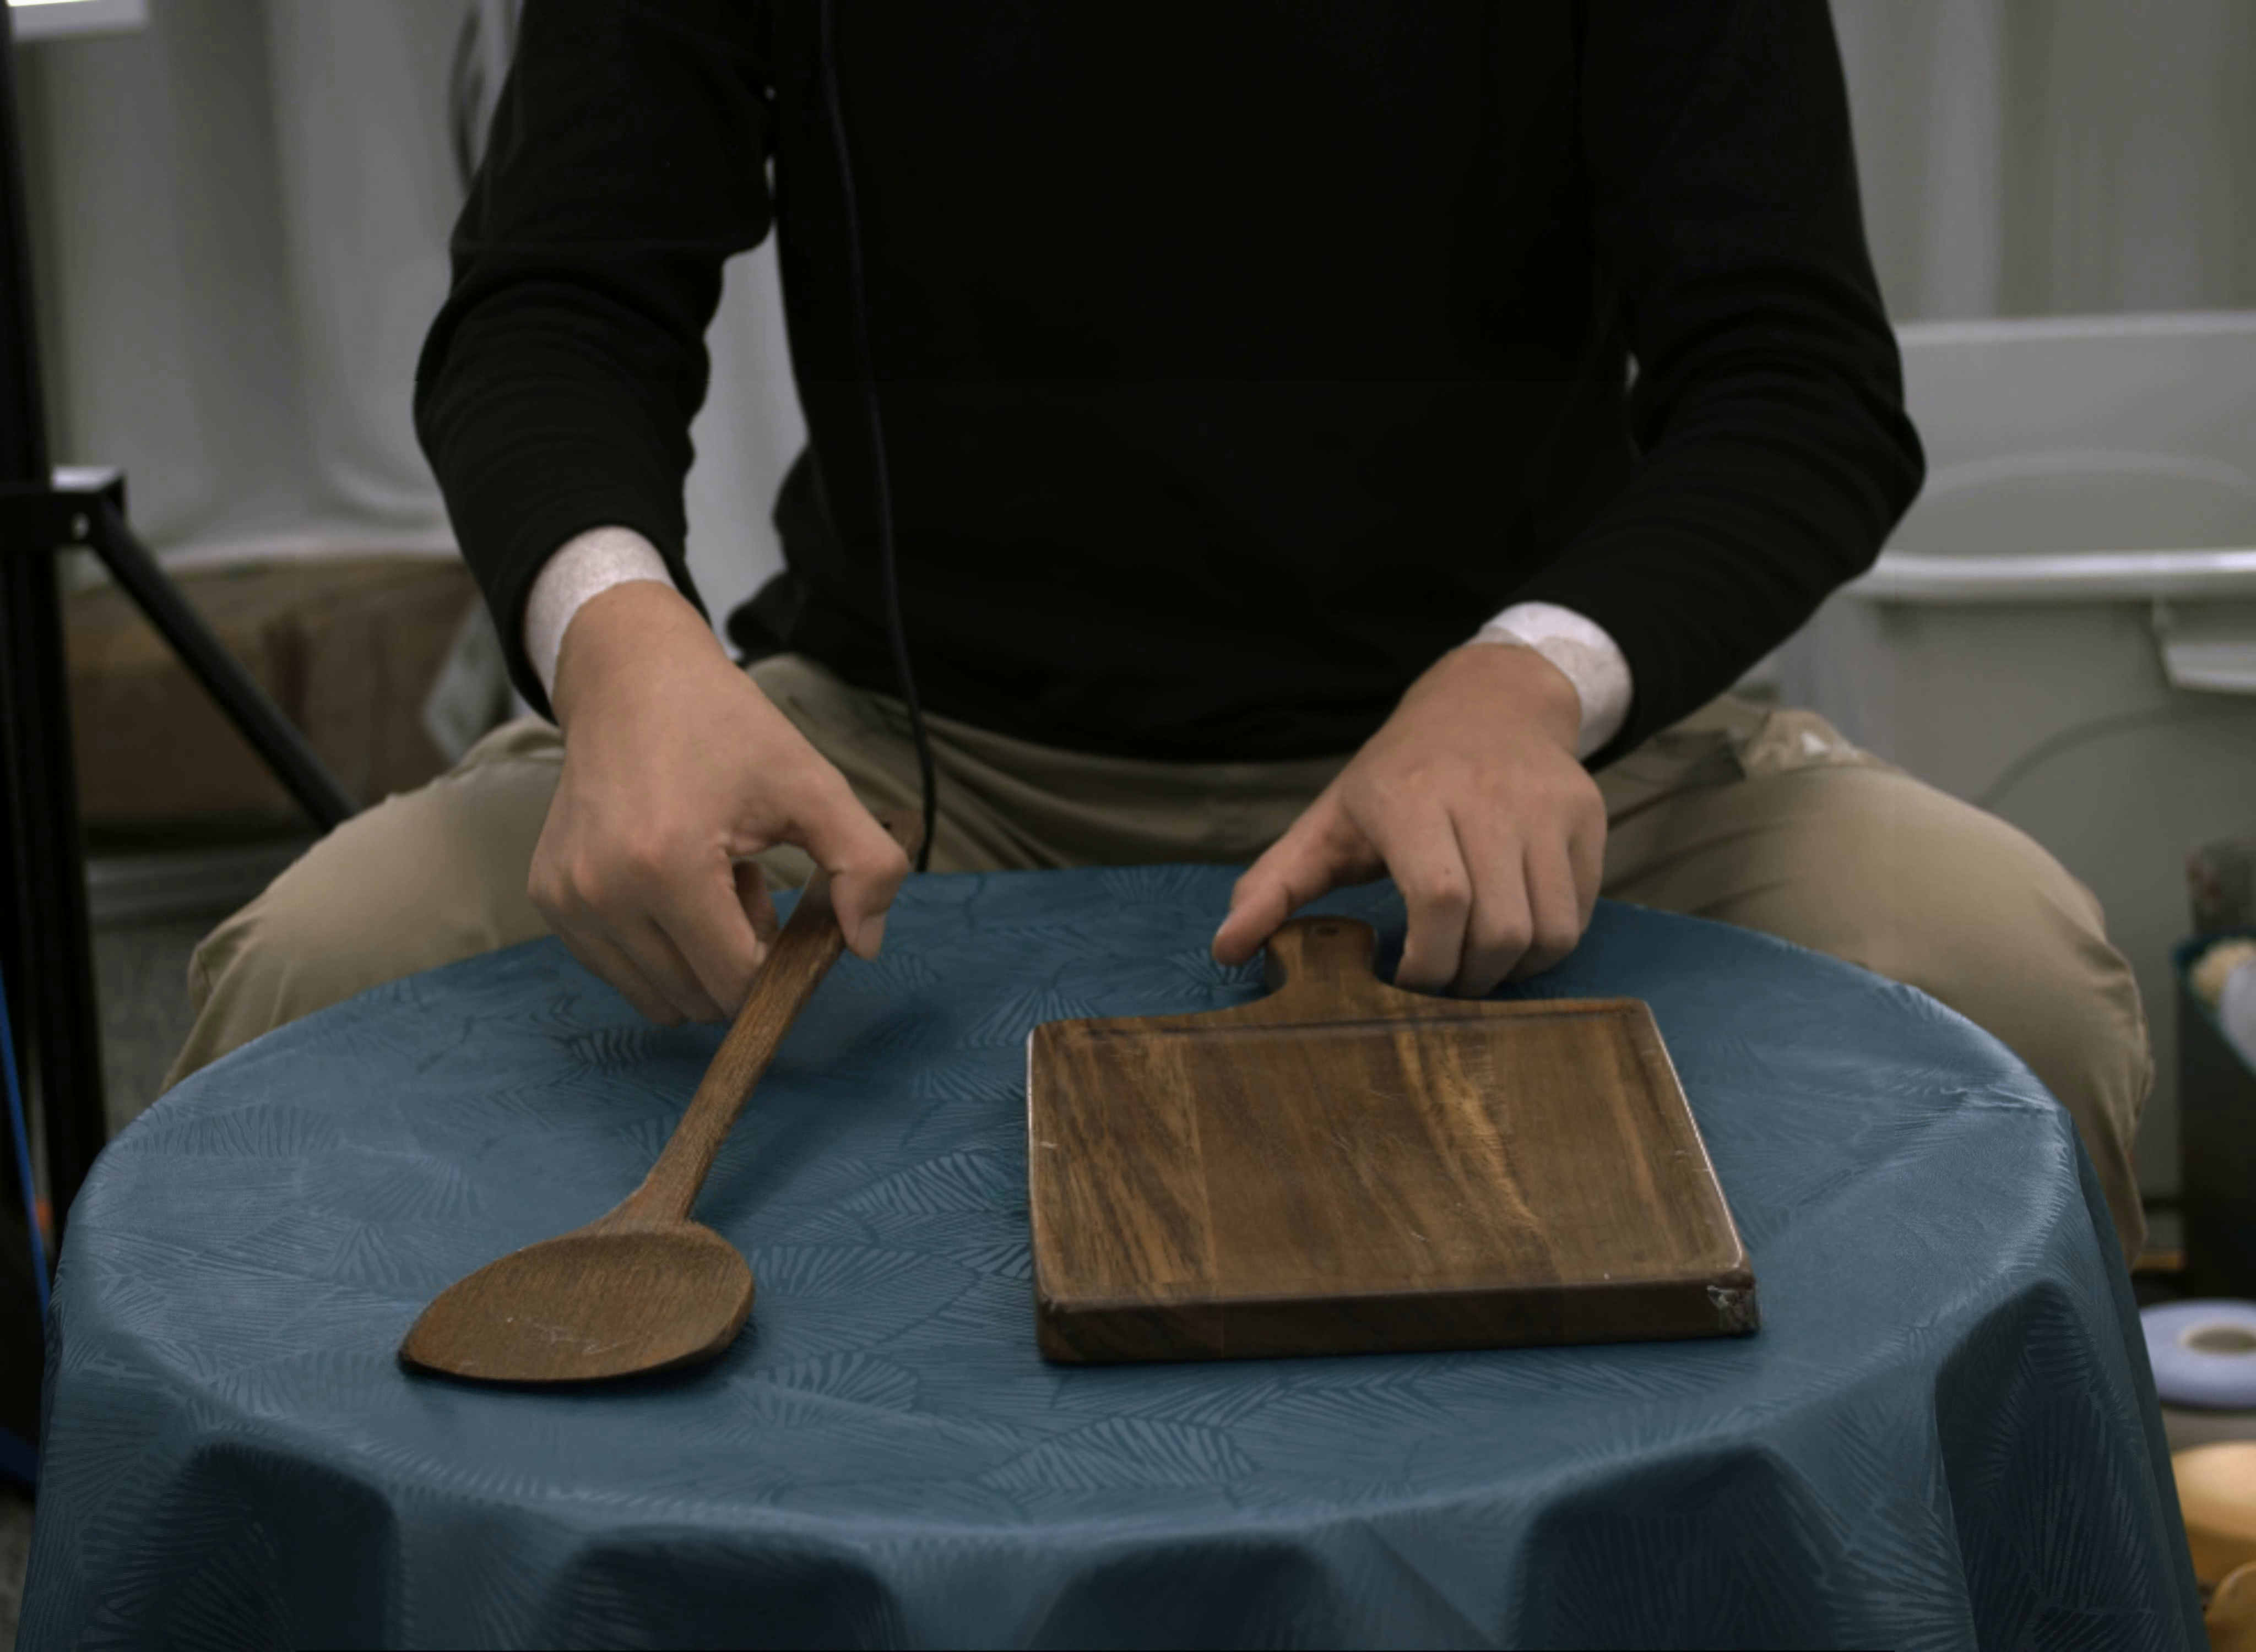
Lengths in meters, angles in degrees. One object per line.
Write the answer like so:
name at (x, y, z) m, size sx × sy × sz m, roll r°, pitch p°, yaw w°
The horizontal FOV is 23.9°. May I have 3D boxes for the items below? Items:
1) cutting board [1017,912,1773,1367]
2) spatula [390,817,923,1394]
cutting board at (0.068, 0.086, 1.586) m, size 0.200 × 0.023 × 0.354 m, roll -3°, pitch 16°, yaw -1°
spatula at (-0.119, 0.075, 1.596) m, size 0.097 × 0.016 × 0.384 m, roll -1°, pitch 24°, yaw 14°
